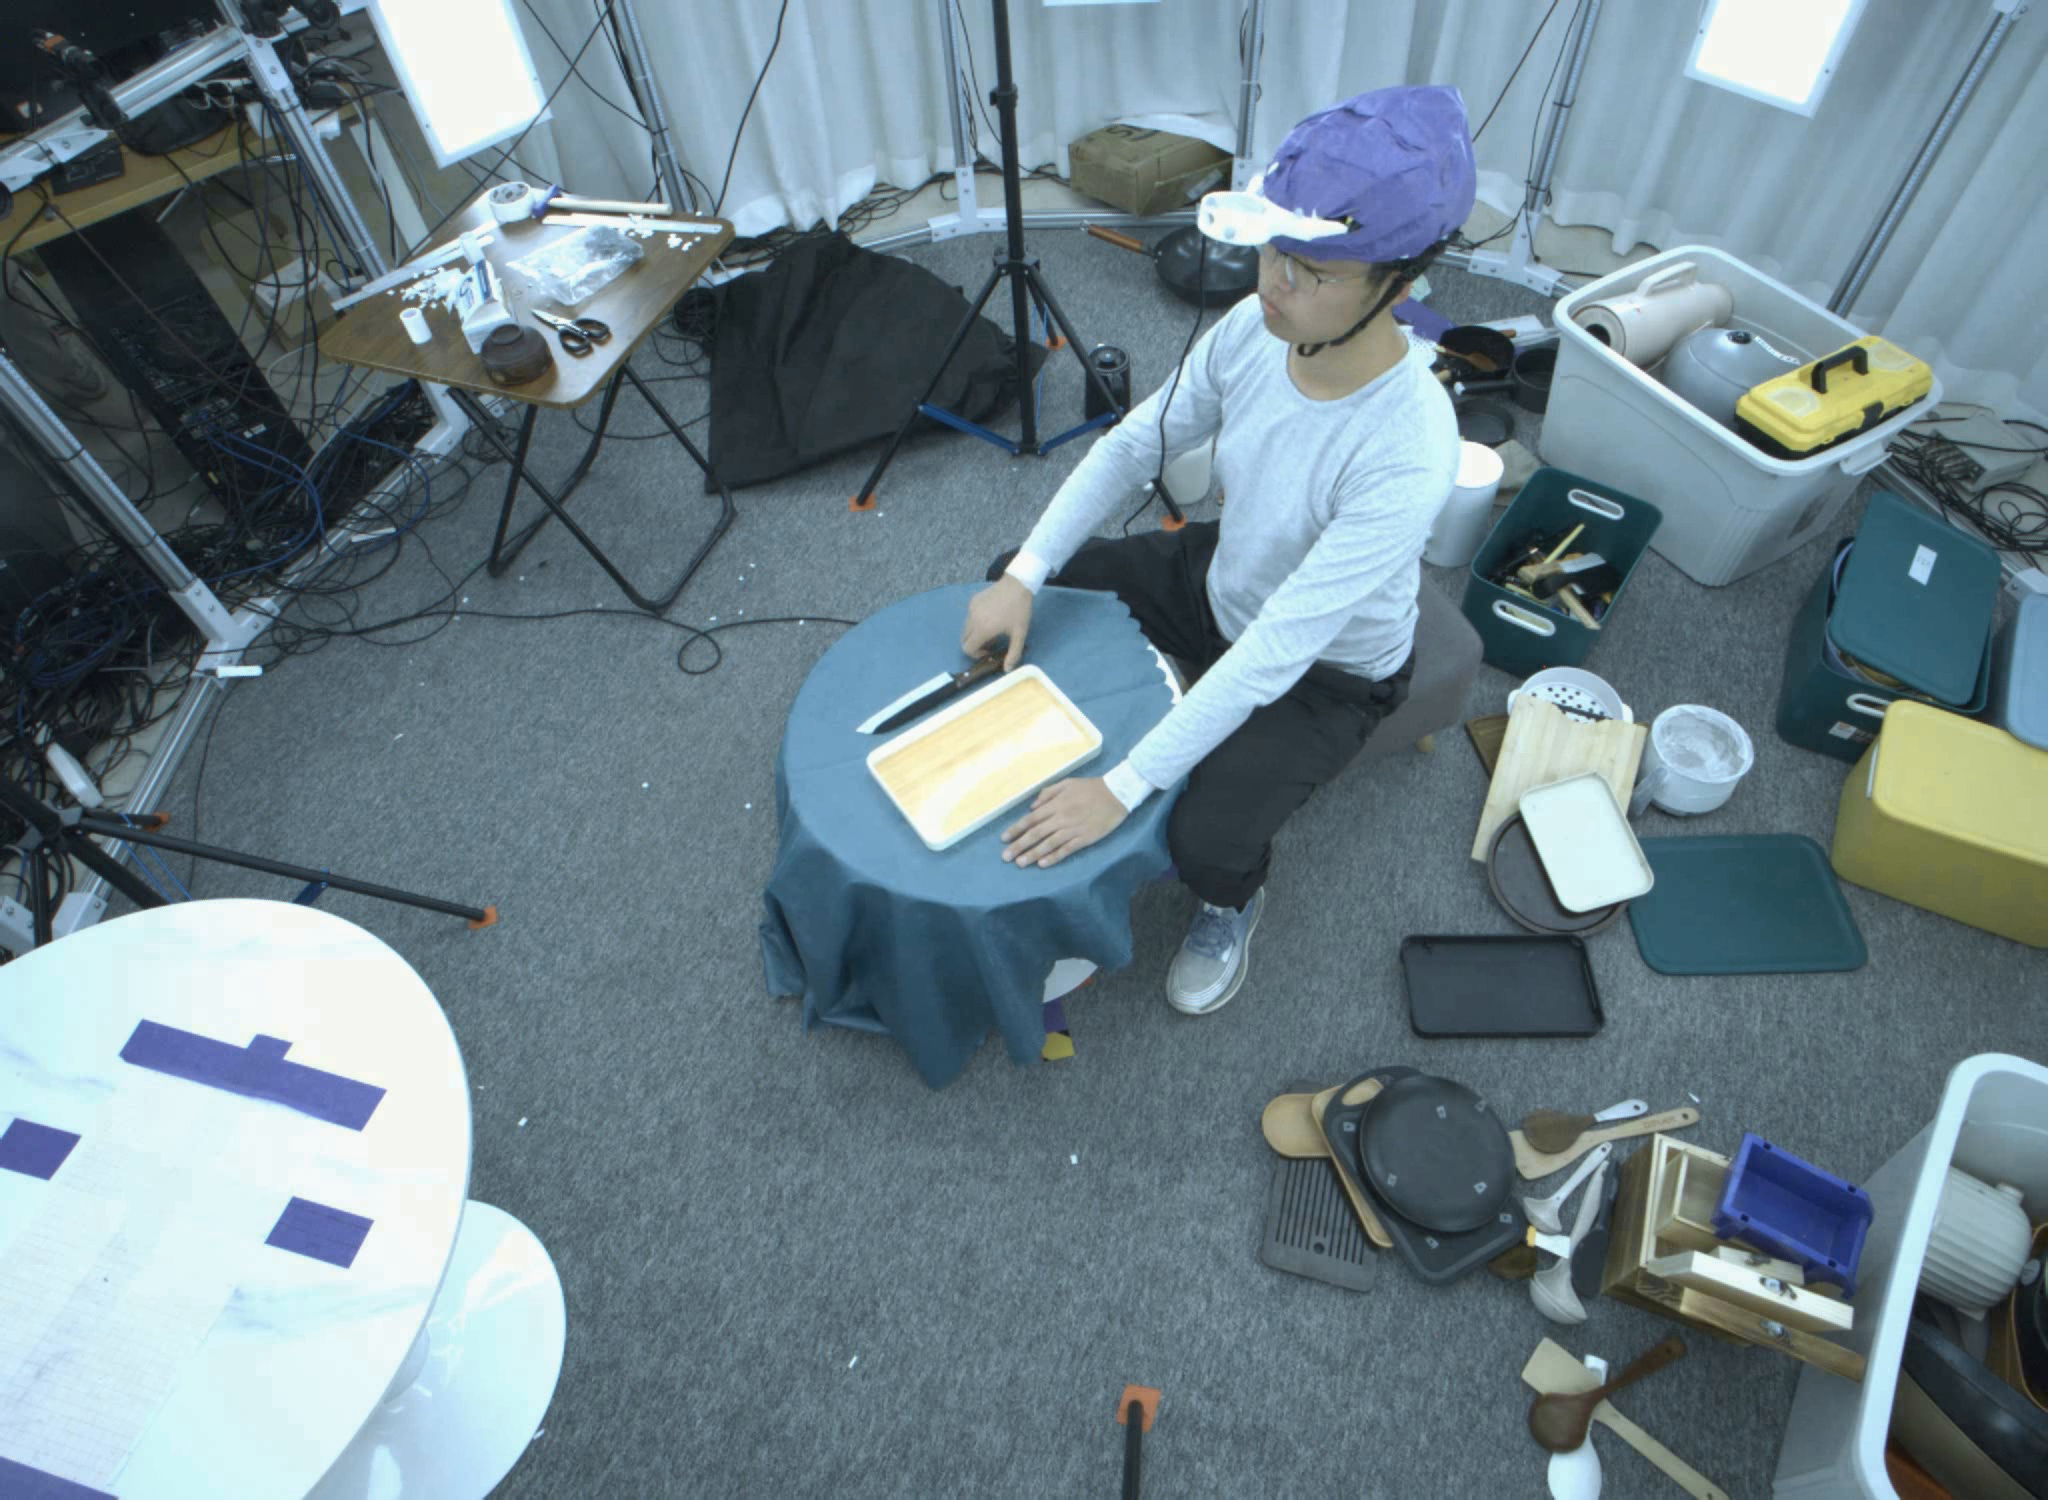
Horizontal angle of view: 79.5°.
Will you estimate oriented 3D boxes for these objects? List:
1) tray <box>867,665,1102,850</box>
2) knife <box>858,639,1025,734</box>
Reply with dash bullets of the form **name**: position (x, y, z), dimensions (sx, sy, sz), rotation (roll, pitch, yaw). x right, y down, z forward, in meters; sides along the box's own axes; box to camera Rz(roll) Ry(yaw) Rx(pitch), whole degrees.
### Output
- **tray**: position (-0.056, 0.005, 1.776), dimensions (0.303, 0.028, 0.188), rotation (-30, 59, -19)
- **knife**: position (-0.124, -0.095, 1.857), dimensions (0.291, 0.020, 0.049), rotation (-29, 53, -15)
